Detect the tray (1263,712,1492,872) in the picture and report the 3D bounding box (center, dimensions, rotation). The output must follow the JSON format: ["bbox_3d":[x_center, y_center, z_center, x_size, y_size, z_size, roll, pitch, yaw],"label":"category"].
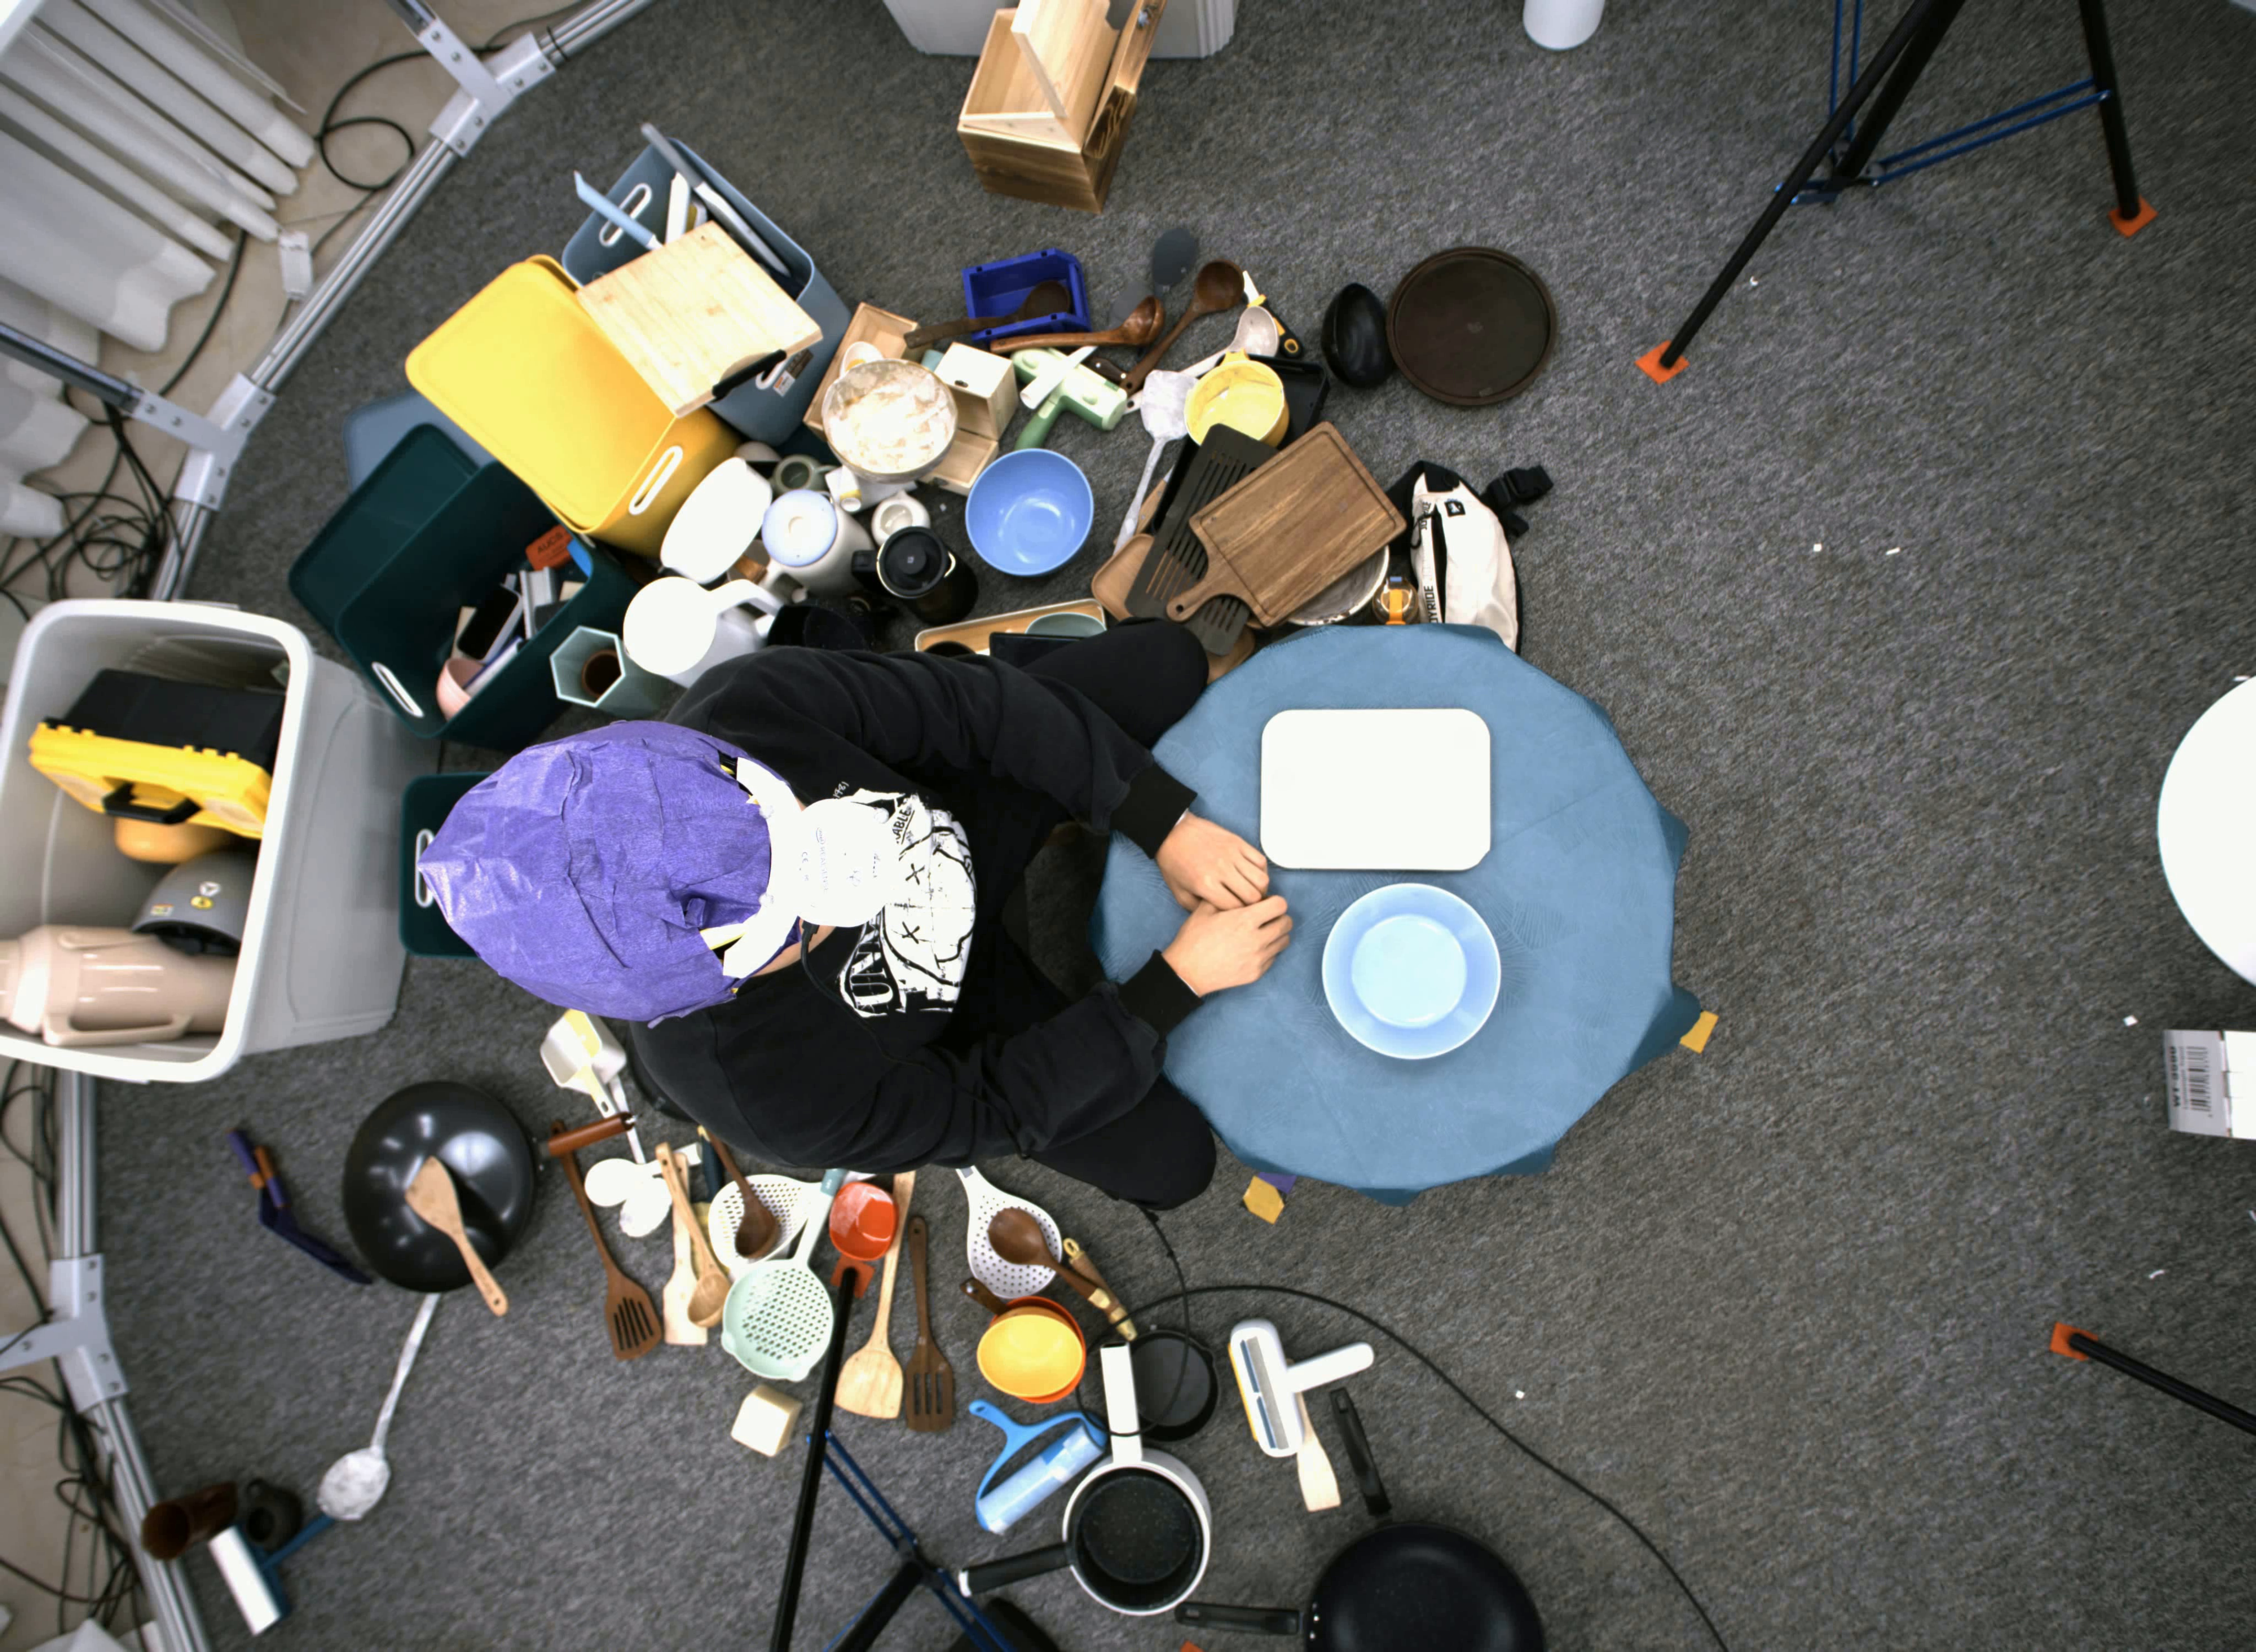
[{"bbox_3d":[0.264,-0.037,1.464,0.240,0.017,0.170,0,86,10],"label":"tray"}]

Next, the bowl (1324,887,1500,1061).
[{"bbox_3d":[0.290,0.151,1.420,0.177,0.070,0.175,-1,85,9],"label":"bowl"}]
